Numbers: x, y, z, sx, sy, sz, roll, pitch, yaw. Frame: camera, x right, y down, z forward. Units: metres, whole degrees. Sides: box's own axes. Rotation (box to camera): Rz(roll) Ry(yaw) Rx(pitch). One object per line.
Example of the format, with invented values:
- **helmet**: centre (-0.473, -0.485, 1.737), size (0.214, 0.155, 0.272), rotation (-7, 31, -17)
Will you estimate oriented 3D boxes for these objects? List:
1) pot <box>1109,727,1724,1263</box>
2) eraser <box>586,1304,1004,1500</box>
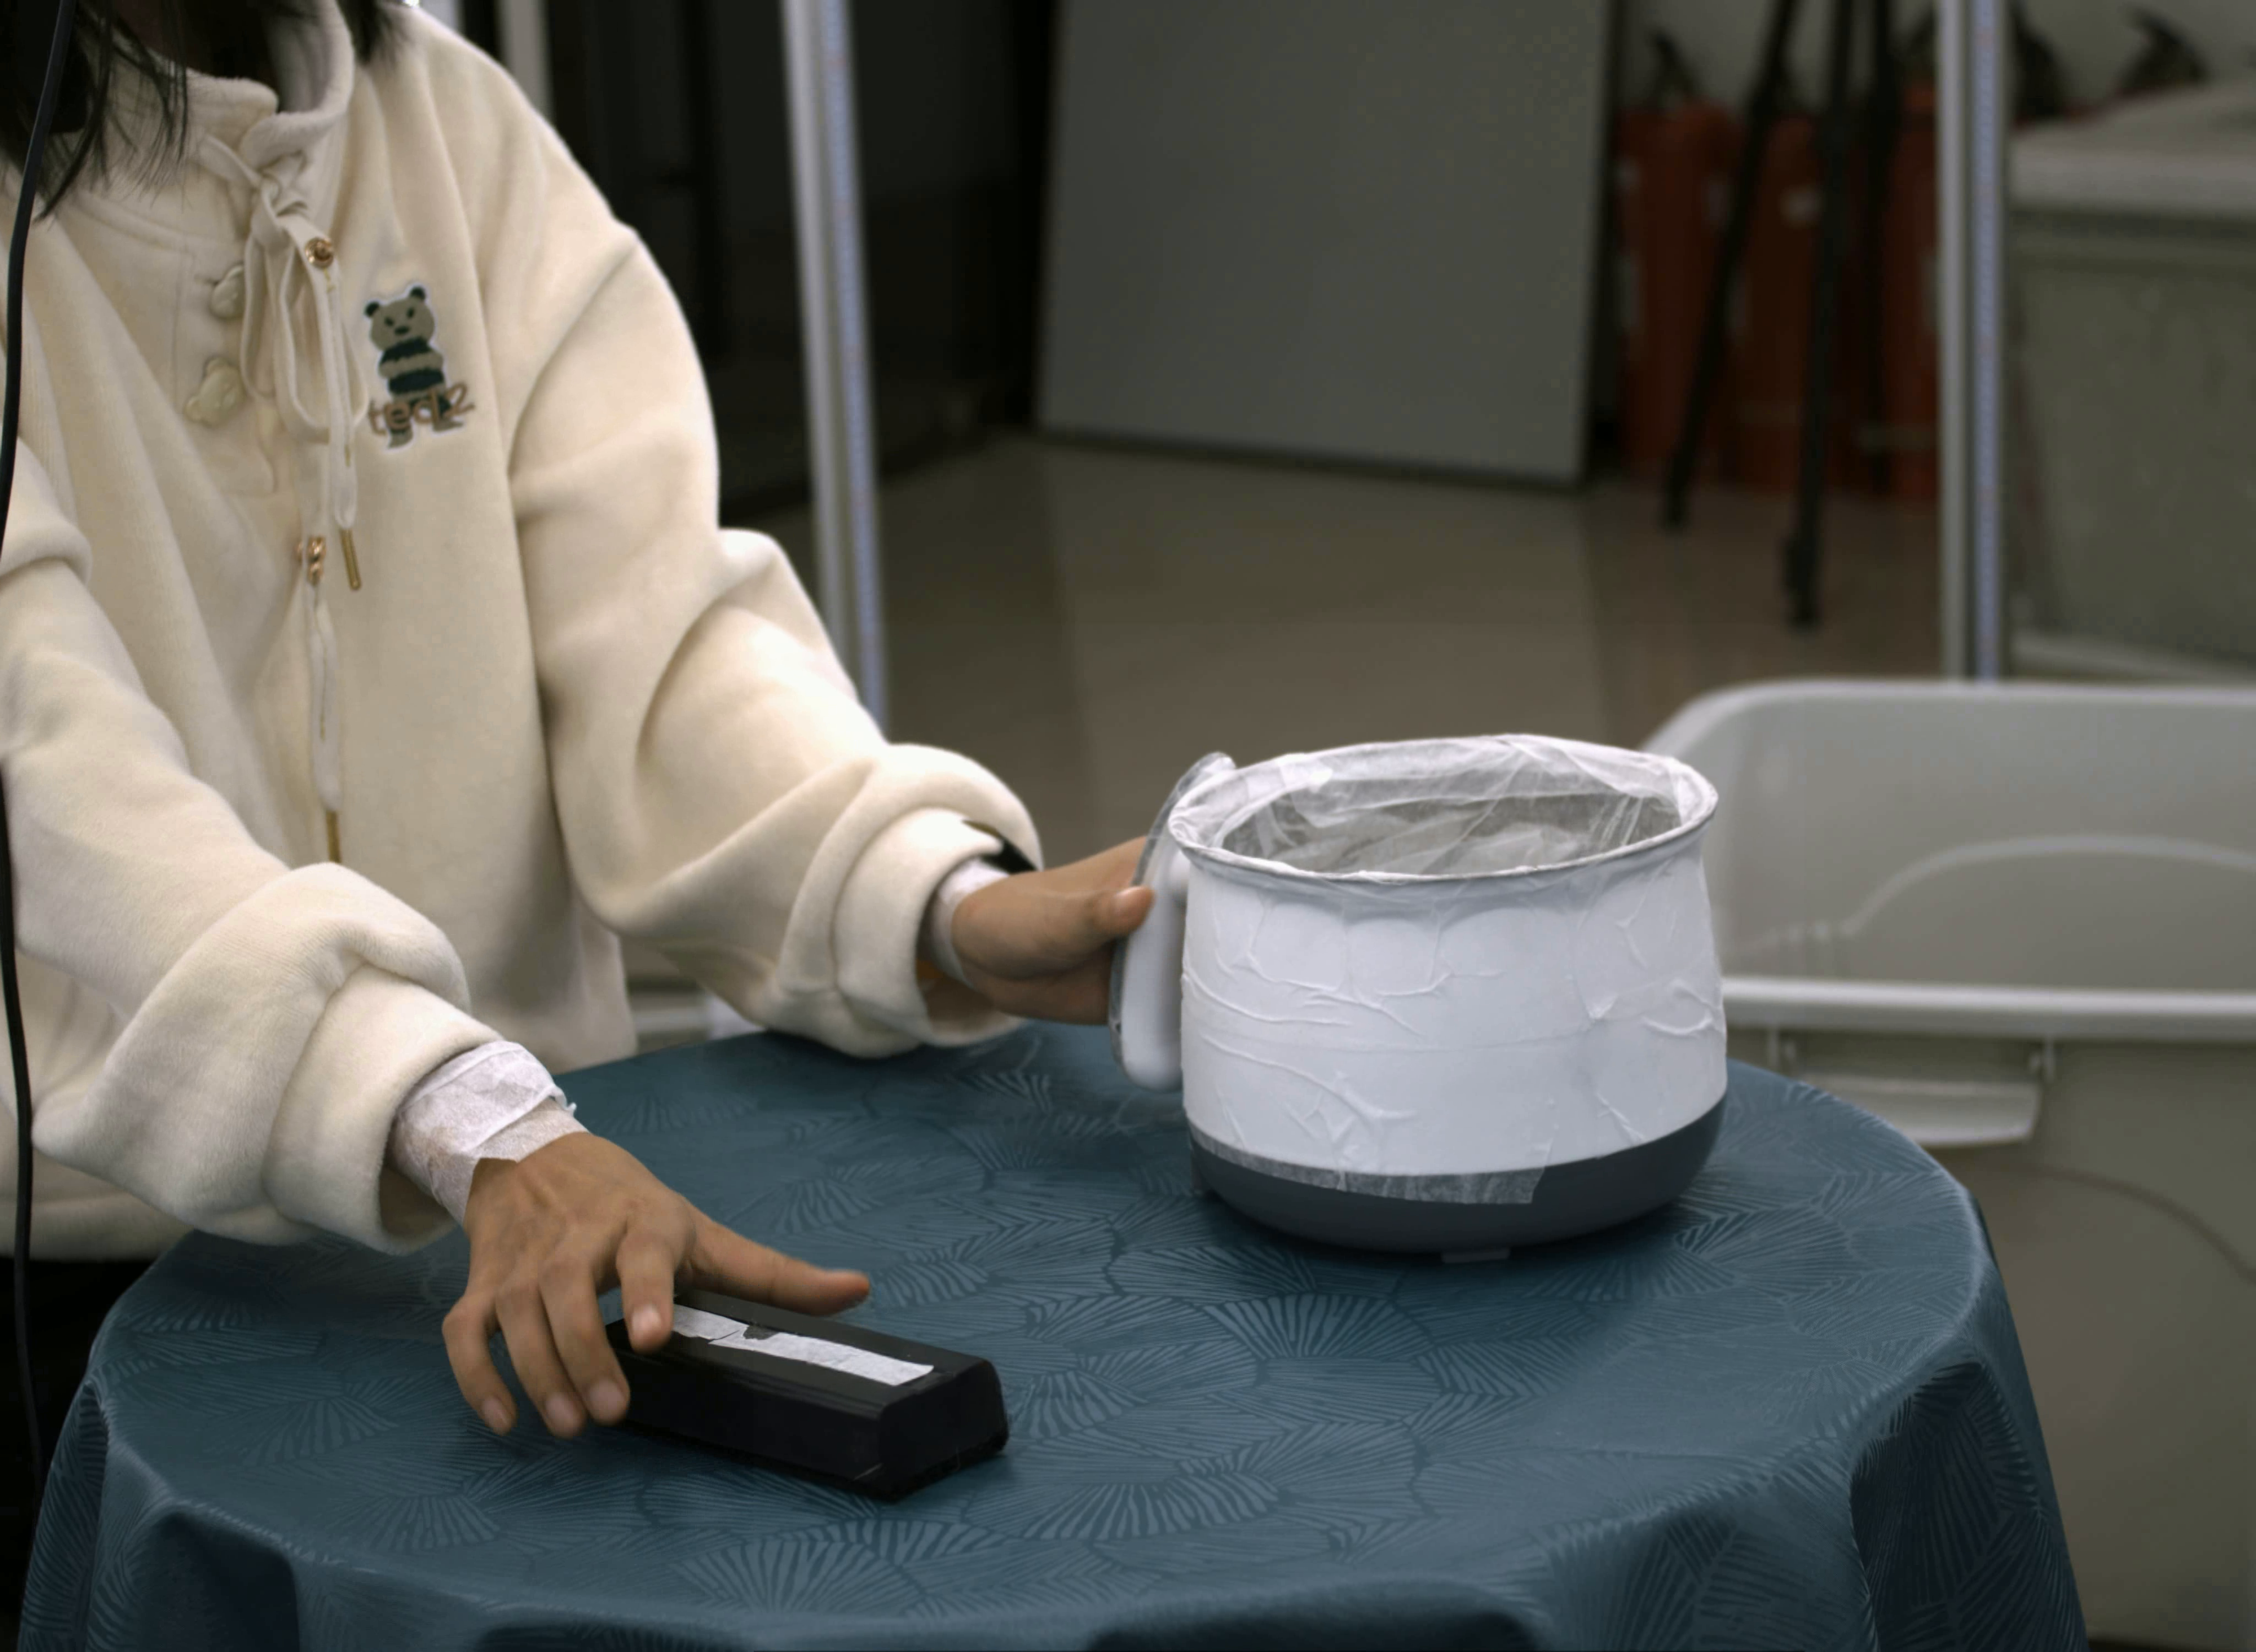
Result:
- **pot**: centre (0.082, 0.049, 1.746), size (0.236, 0.138, 0.175), rotation (10, 19, 43)
- **eraser**: centre (-0.096, 0.165, 1.562), size (0.126, 0.031, 0.052), rotation (7, 17, 43)
